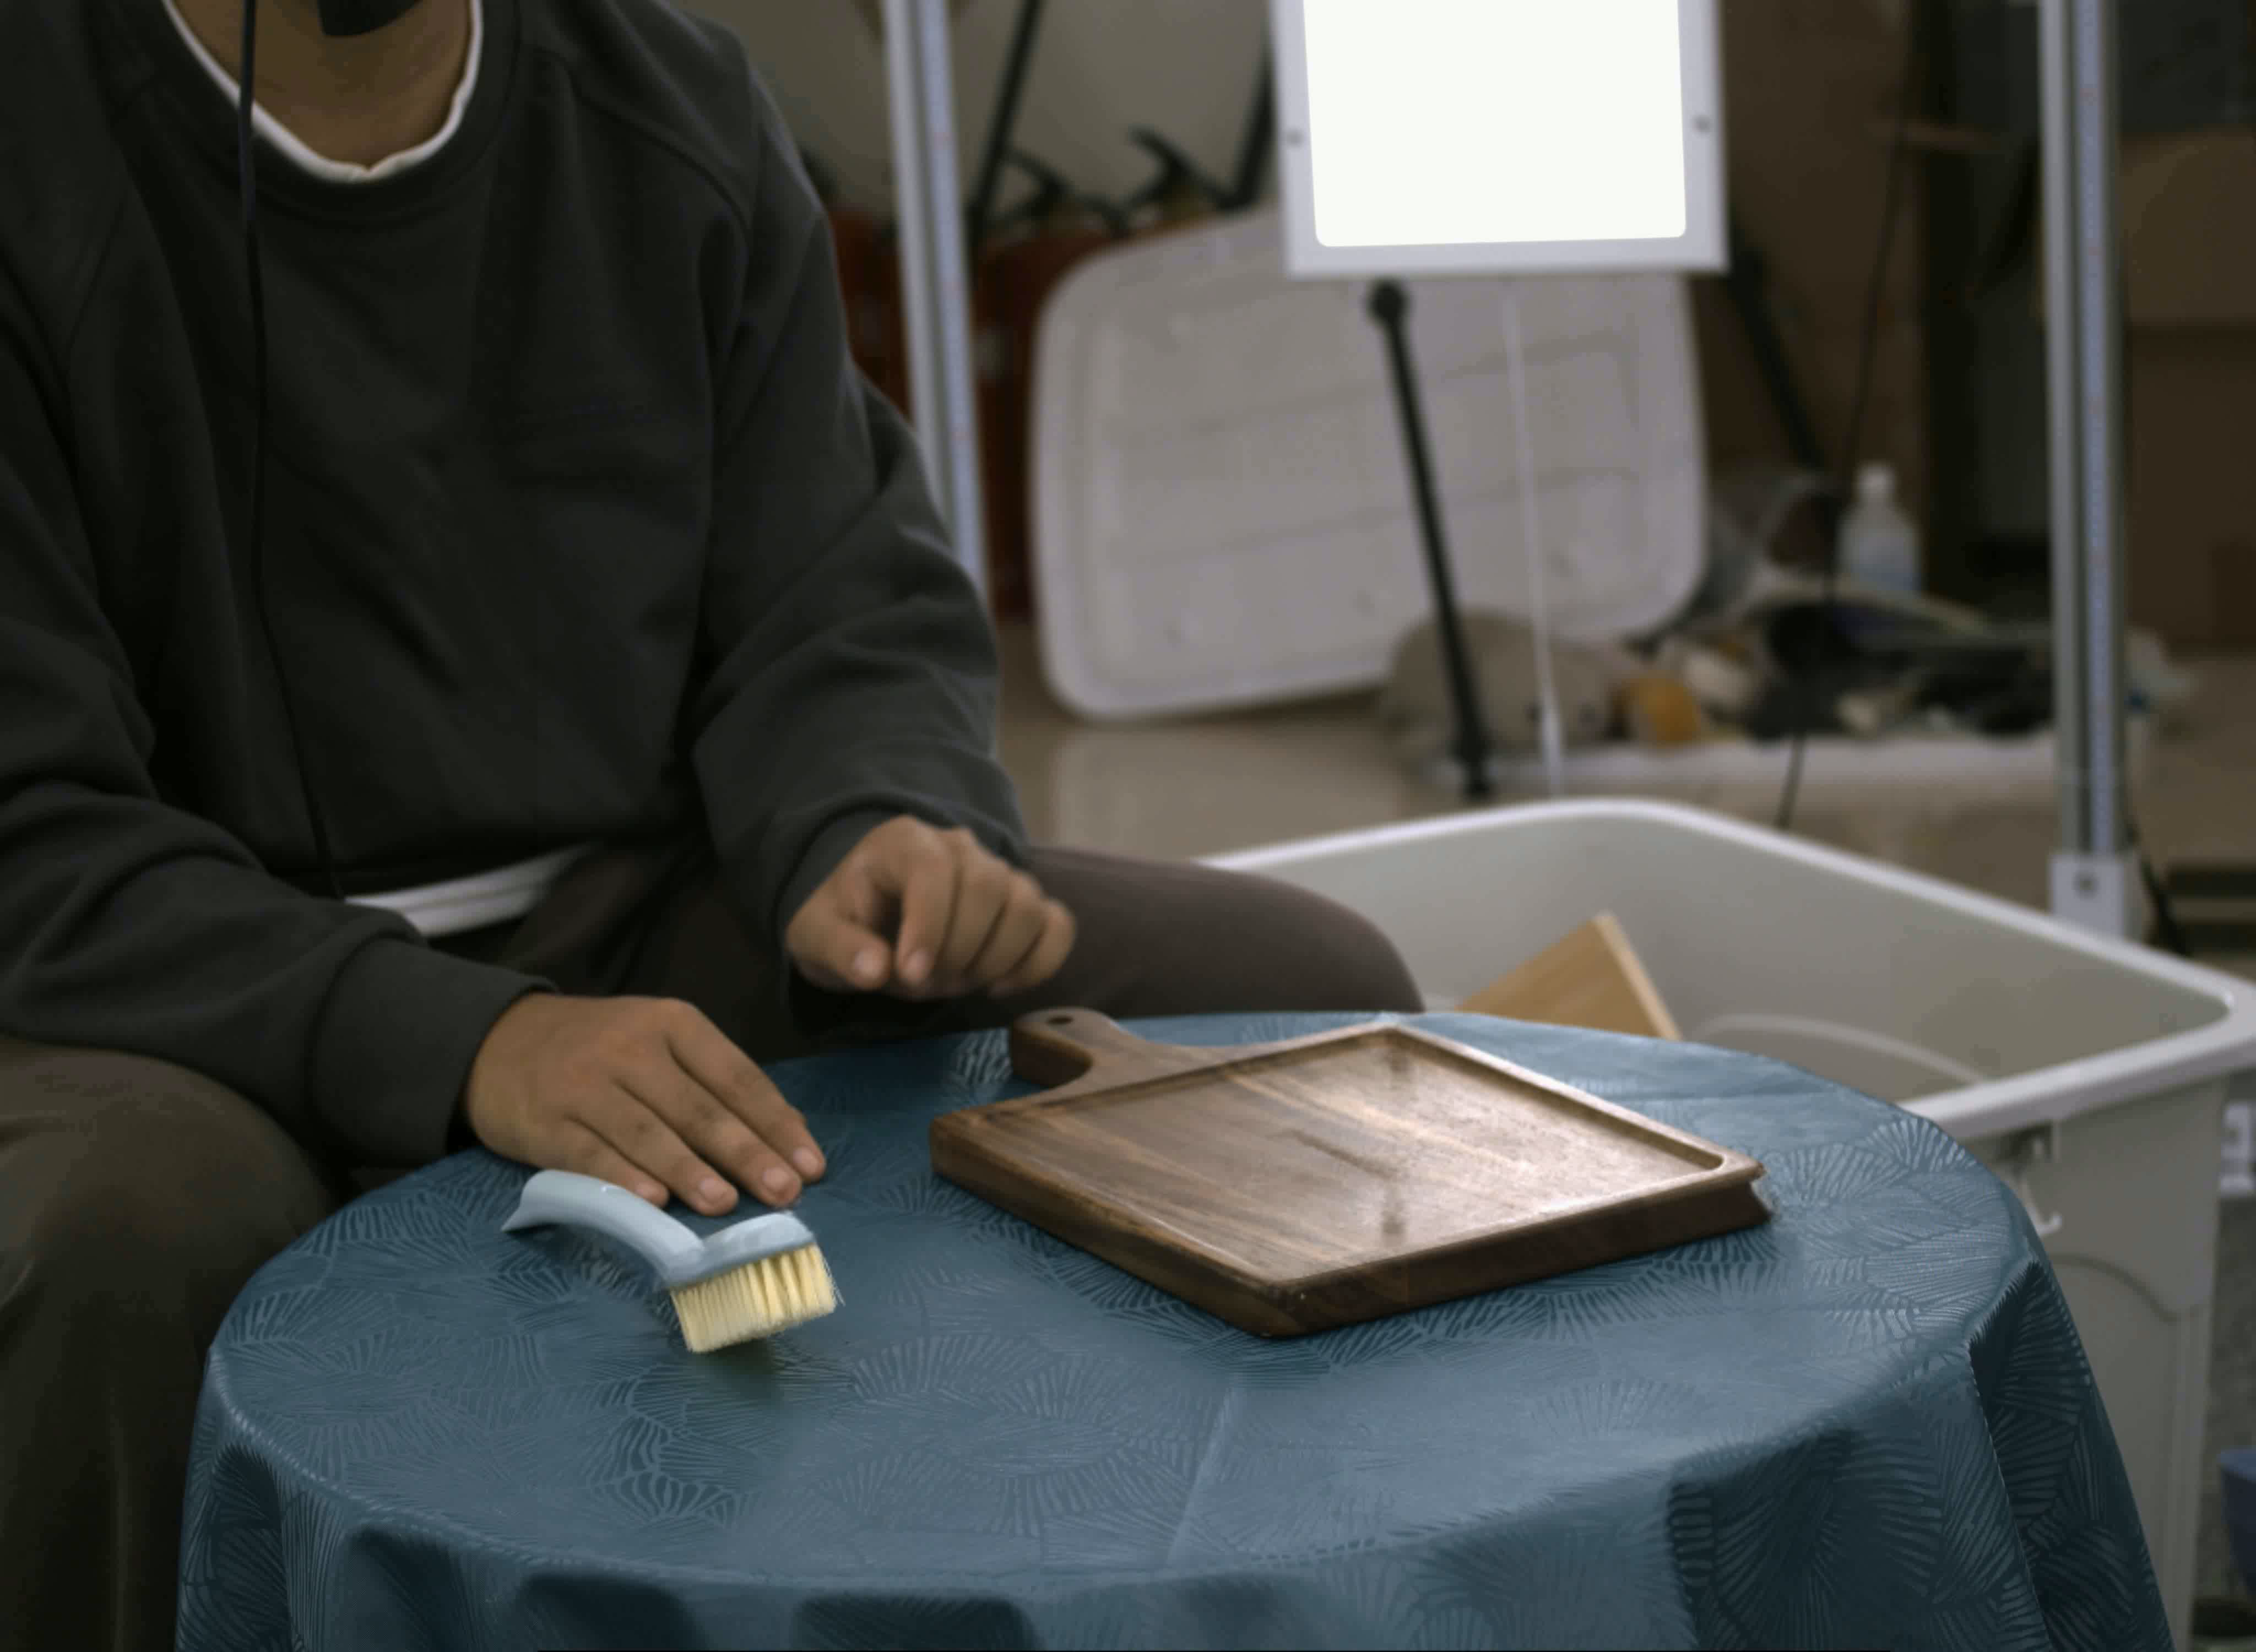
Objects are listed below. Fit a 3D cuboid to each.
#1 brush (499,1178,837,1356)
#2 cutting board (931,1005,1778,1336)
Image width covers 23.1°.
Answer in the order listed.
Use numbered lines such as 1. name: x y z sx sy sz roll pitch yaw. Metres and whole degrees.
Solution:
1. brush: -0.156 0.144 1.819 0.037 0.050 0.233 -10 5 -29
2. cutting board: 0.050 0.107 1.918 0.197 0.023 0.358 -11 14 -25
